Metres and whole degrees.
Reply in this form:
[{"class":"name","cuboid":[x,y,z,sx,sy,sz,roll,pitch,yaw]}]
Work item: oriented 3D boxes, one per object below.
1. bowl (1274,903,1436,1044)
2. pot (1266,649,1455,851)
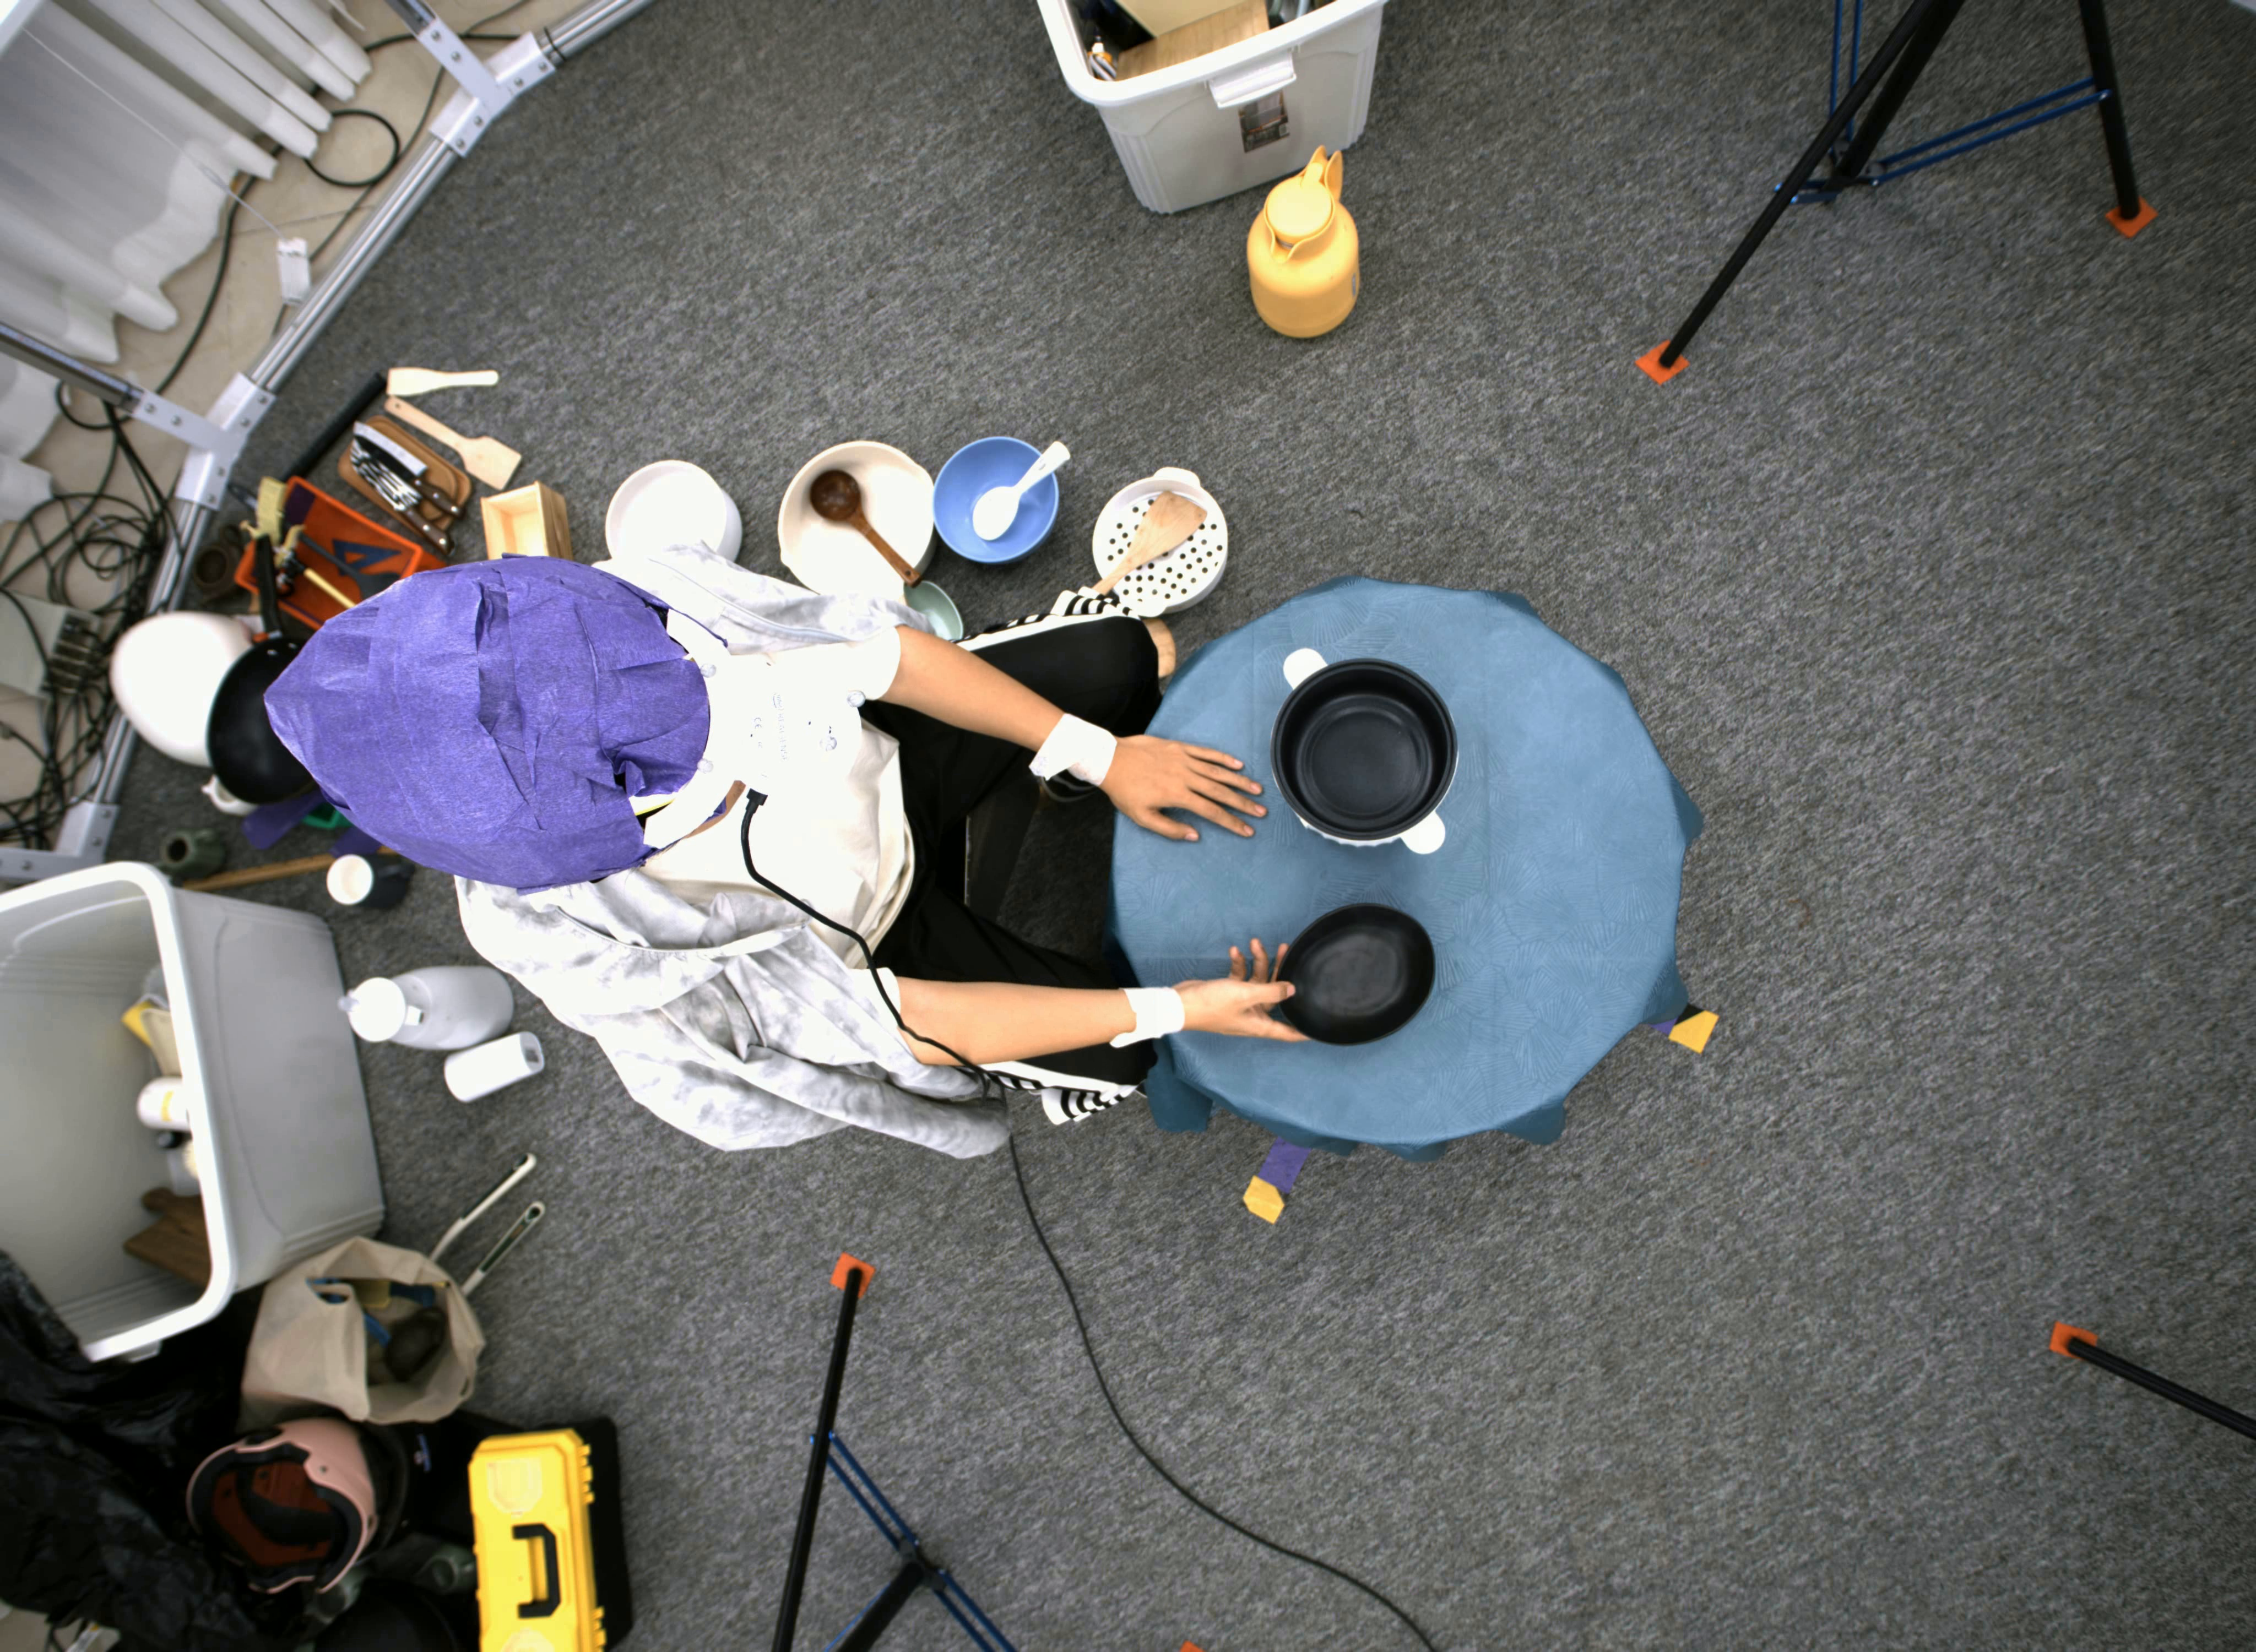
[{"class":"bowl","cuboid":[0.235,0.153,1.427,0.171,0.067,0.136,-29,81,8]},{"class":"pot","cuboid":[0.242,-0.075,1.401,0.192,0.142,0.239,-37,81,9]}]
